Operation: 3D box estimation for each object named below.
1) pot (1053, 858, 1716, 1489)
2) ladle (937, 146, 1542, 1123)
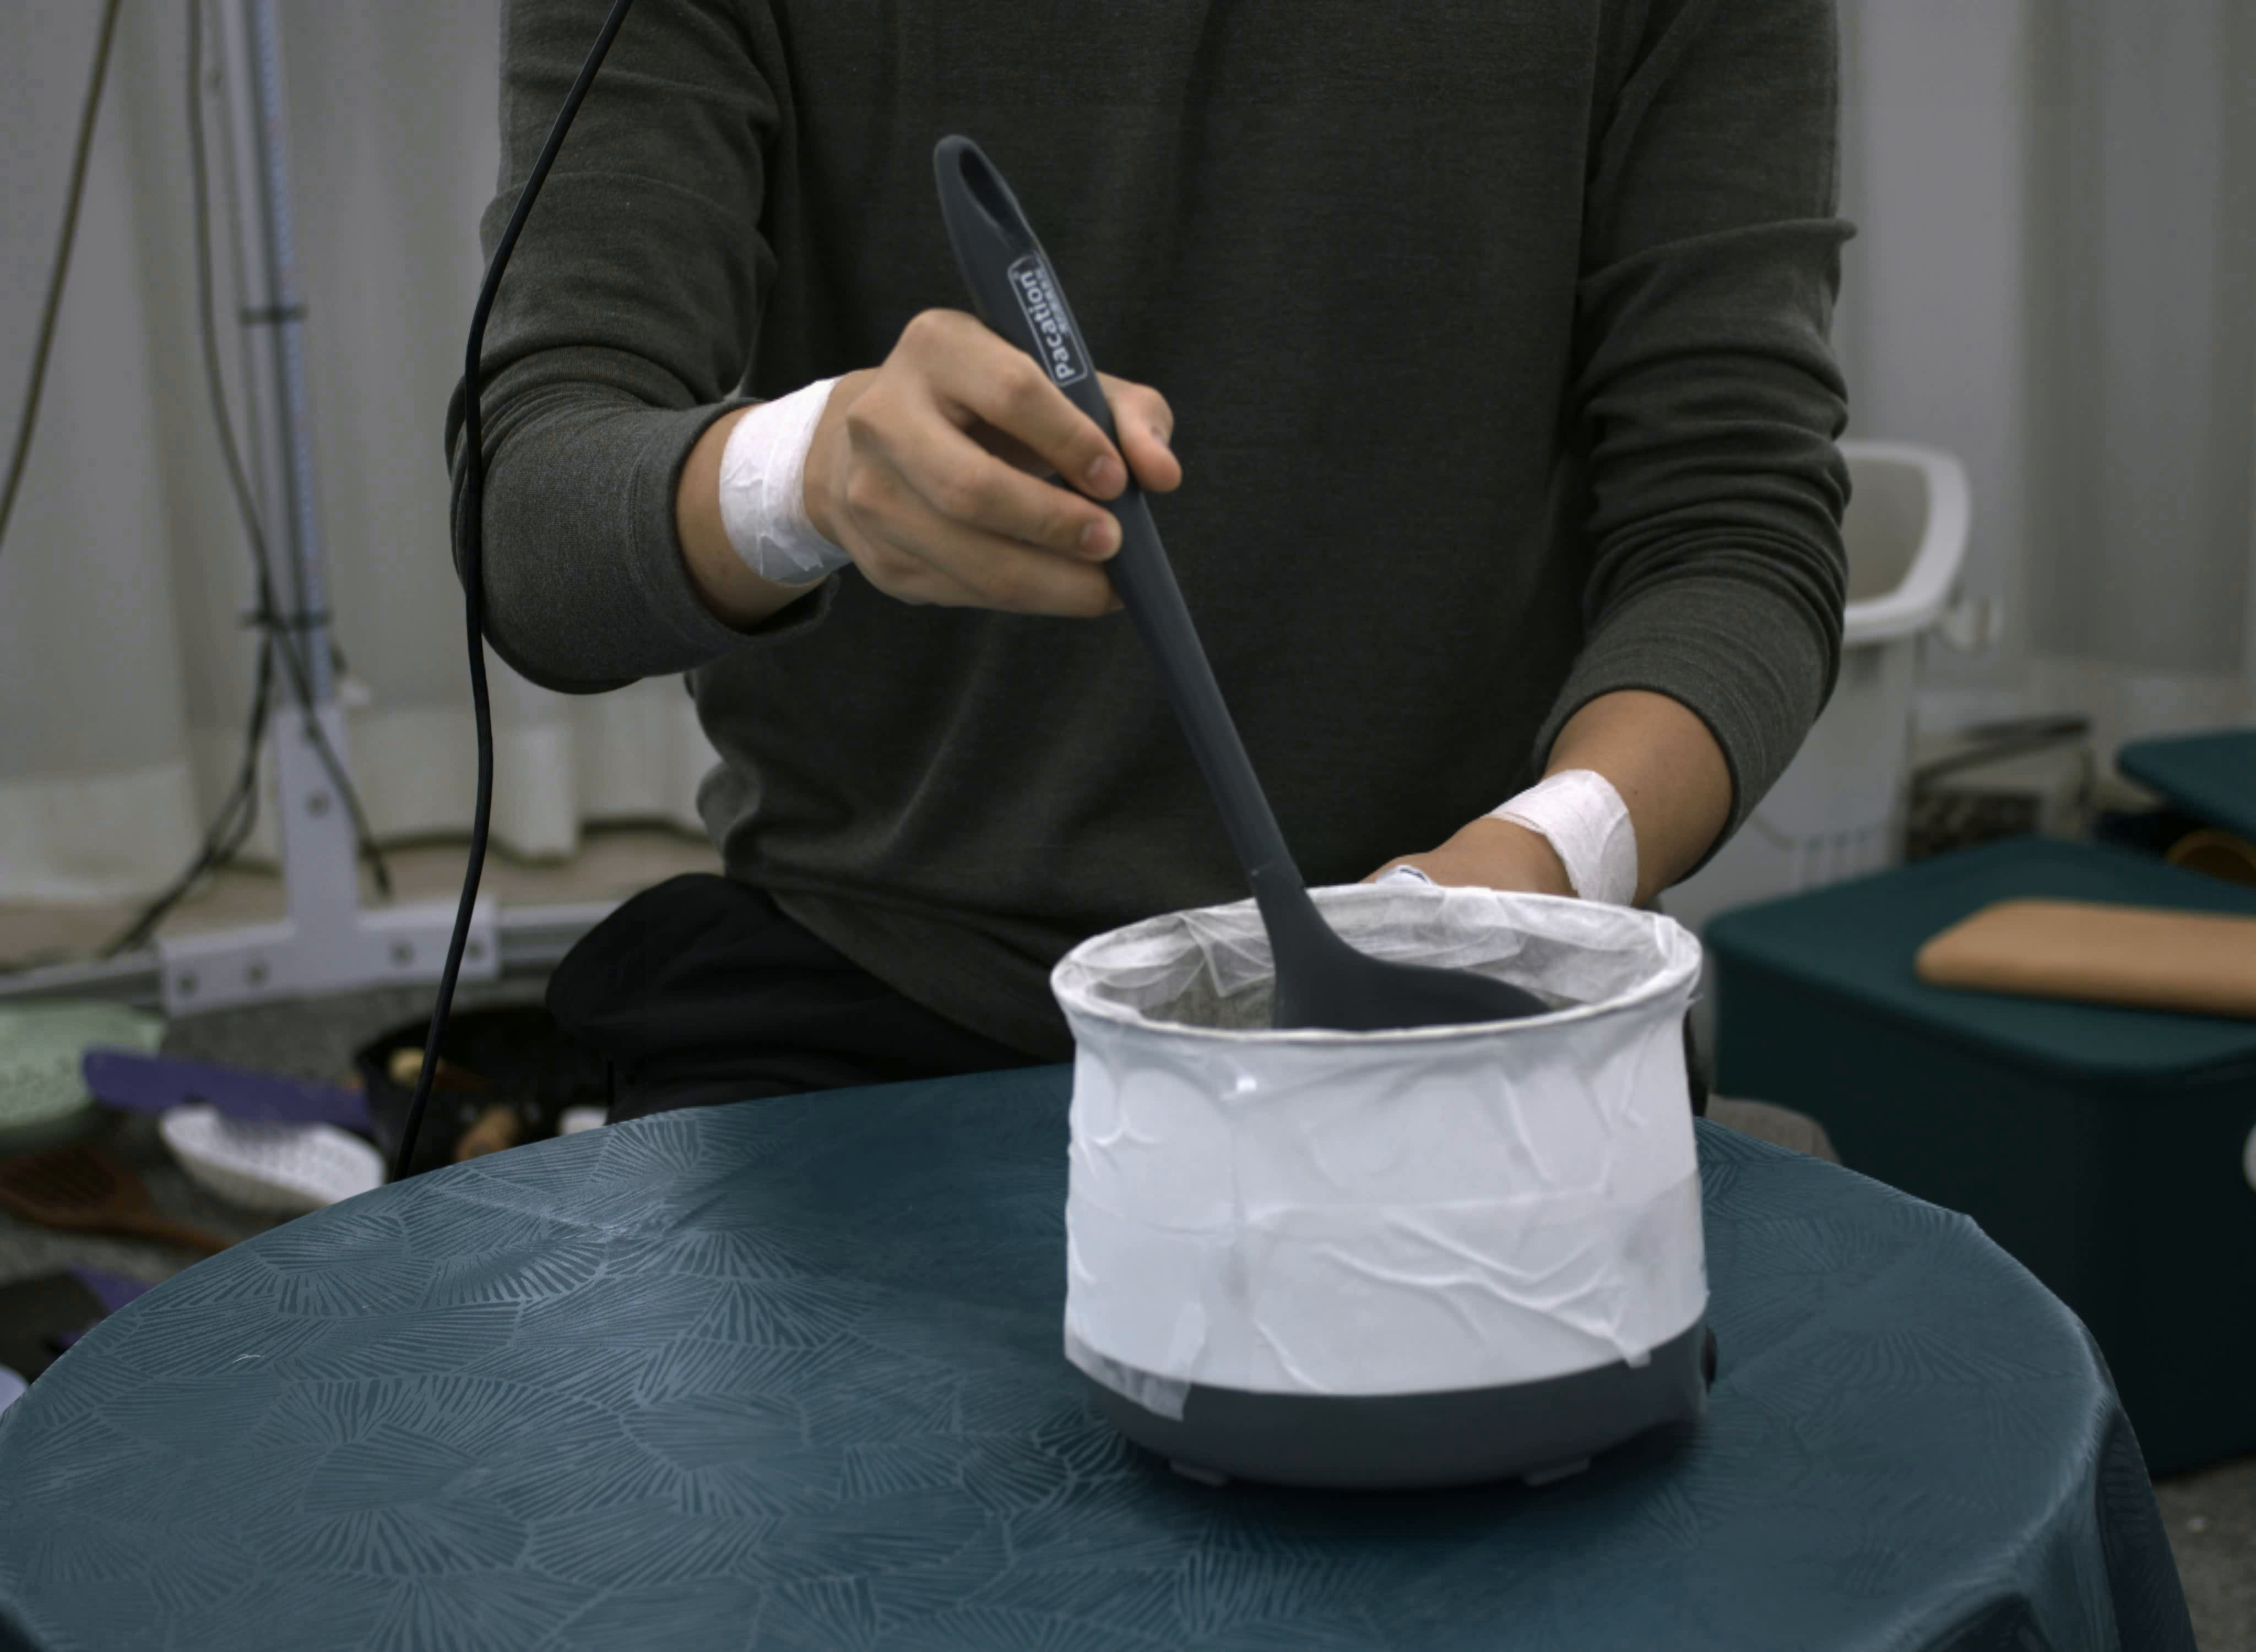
[{"bbox_3d":[0.073,0.091,1.517,0.178,0.136,0.235,-1,11,7],"label":"pot"},{"bbox_3d":[0.028,-0.049,1.498,0.086,0.314,0.064,-24,0,-38],"label":"ladle"}]
